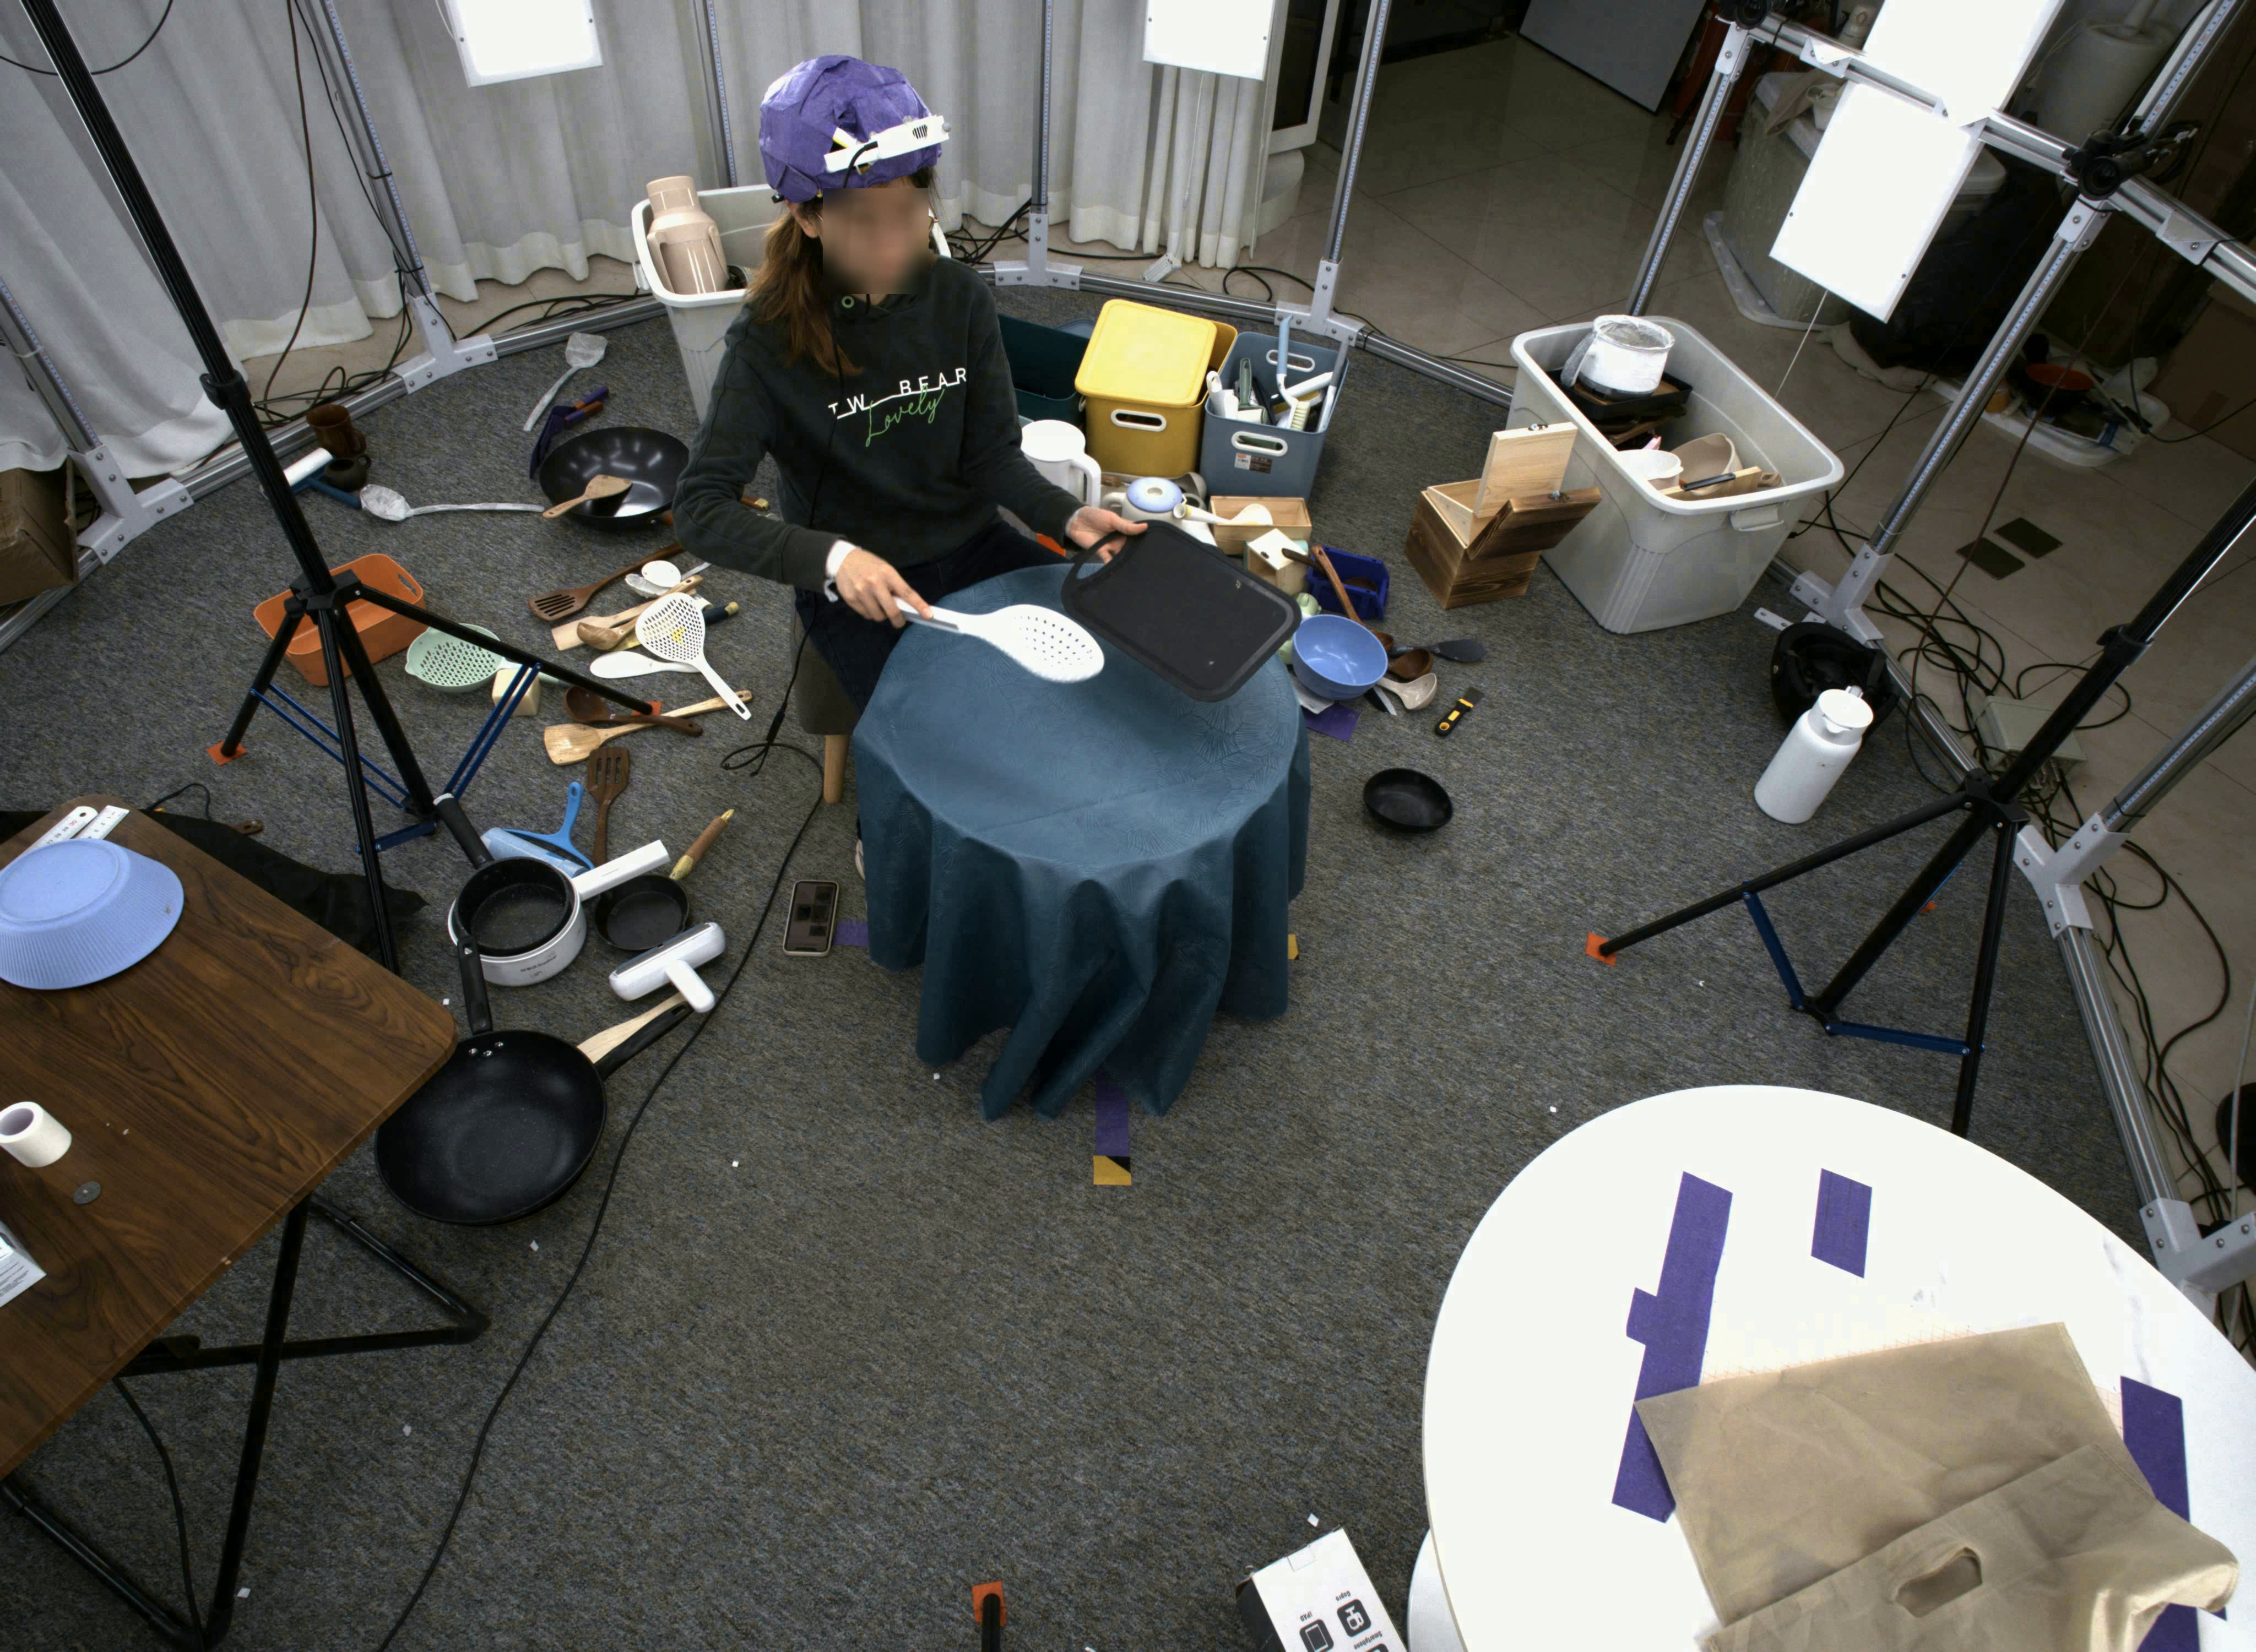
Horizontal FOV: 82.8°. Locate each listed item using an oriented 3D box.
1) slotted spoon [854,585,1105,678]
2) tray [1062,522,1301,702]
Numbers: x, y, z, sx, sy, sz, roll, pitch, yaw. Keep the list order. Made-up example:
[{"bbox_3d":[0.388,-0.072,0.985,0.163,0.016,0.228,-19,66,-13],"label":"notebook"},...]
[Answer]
[{"bbox_3d":[-0.189,-0.249,1.588,0.353,0.133,0.046,22,69,24],"label":"slotted spoon"},{"bbox_3d":[0.064,-0.306,1.780,0.330,0.009,0.213,37,70,25],"label":"tray"}]
